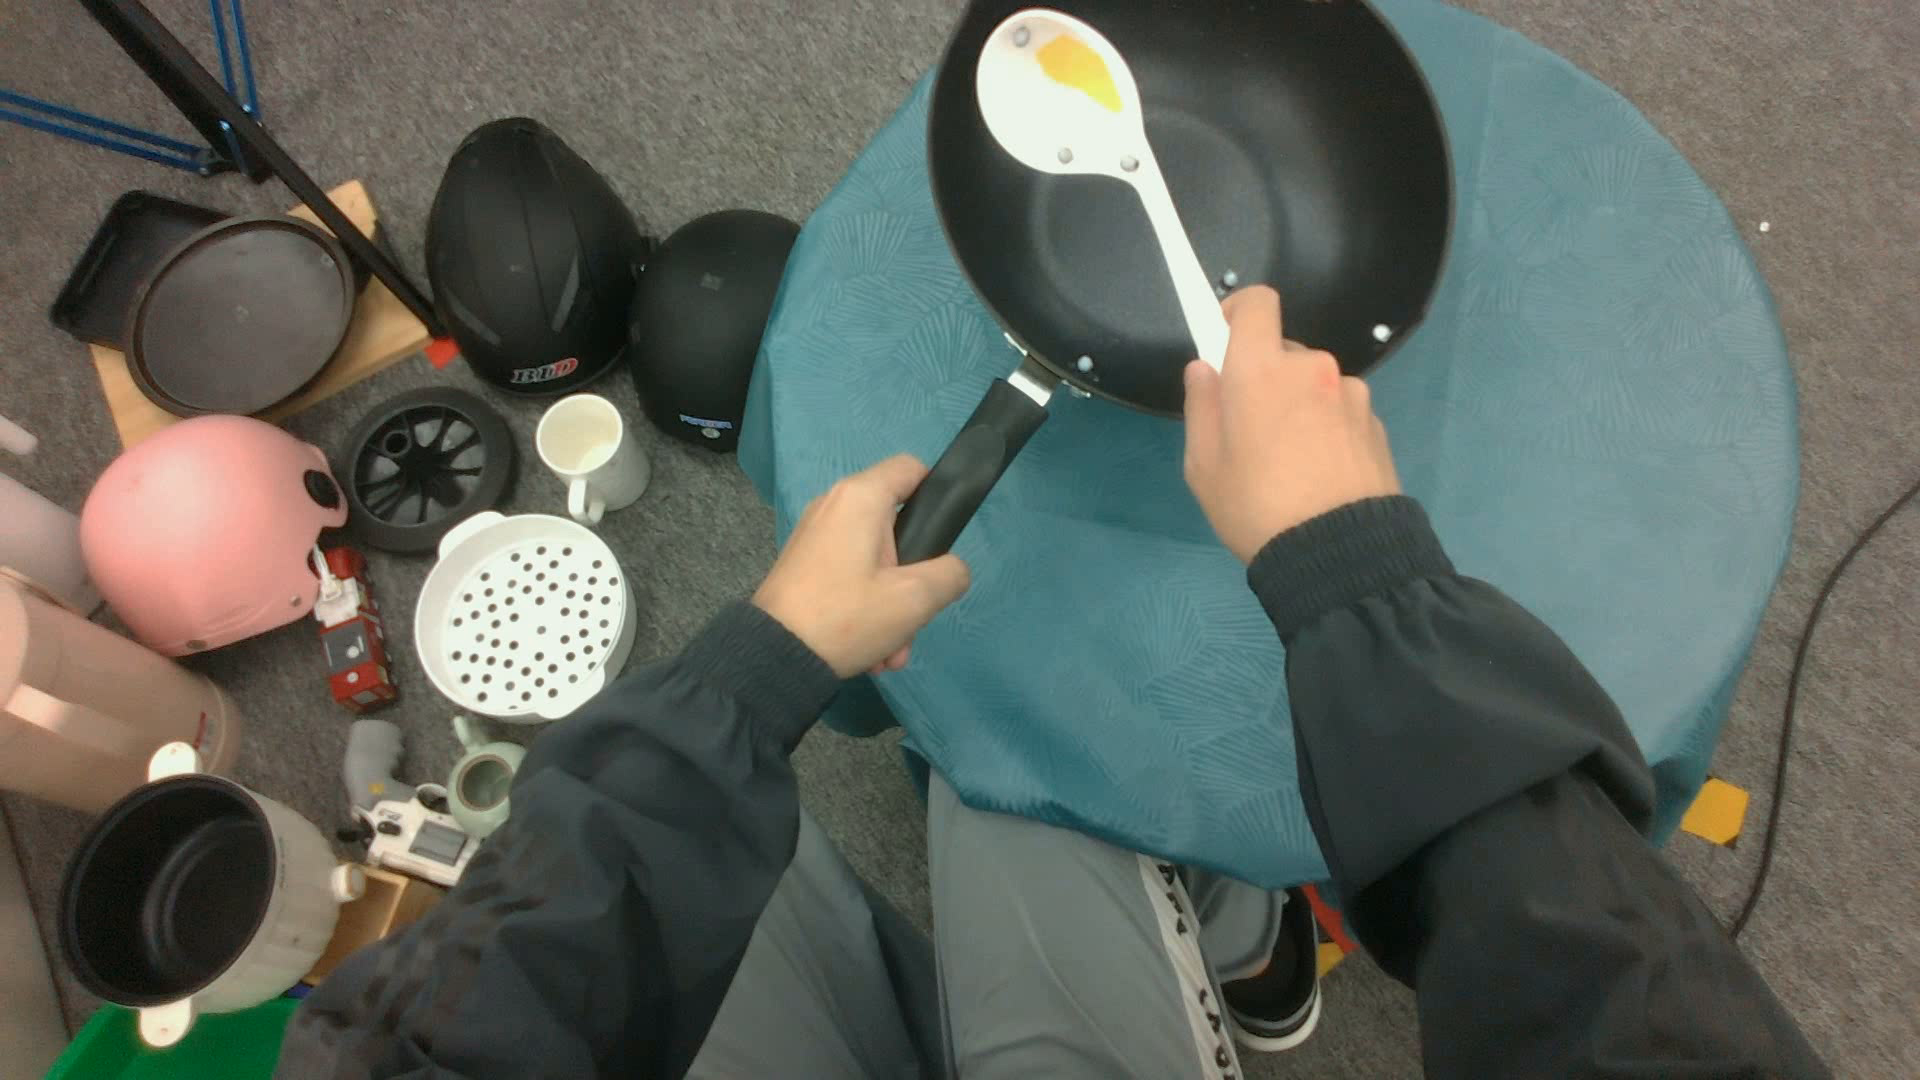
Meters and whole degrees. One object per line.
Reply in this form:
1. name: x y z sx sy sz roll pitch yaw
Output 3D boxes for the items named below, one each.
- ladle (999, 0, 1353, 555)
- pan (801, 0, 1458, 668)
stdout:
1. ladle: 0.104 -0.127 0.664 0.070 0.090 0.293 -11 73 -28
2. pan: 0.070 -0.116 0.742 0.288 0.086 0.464 35 78 2
